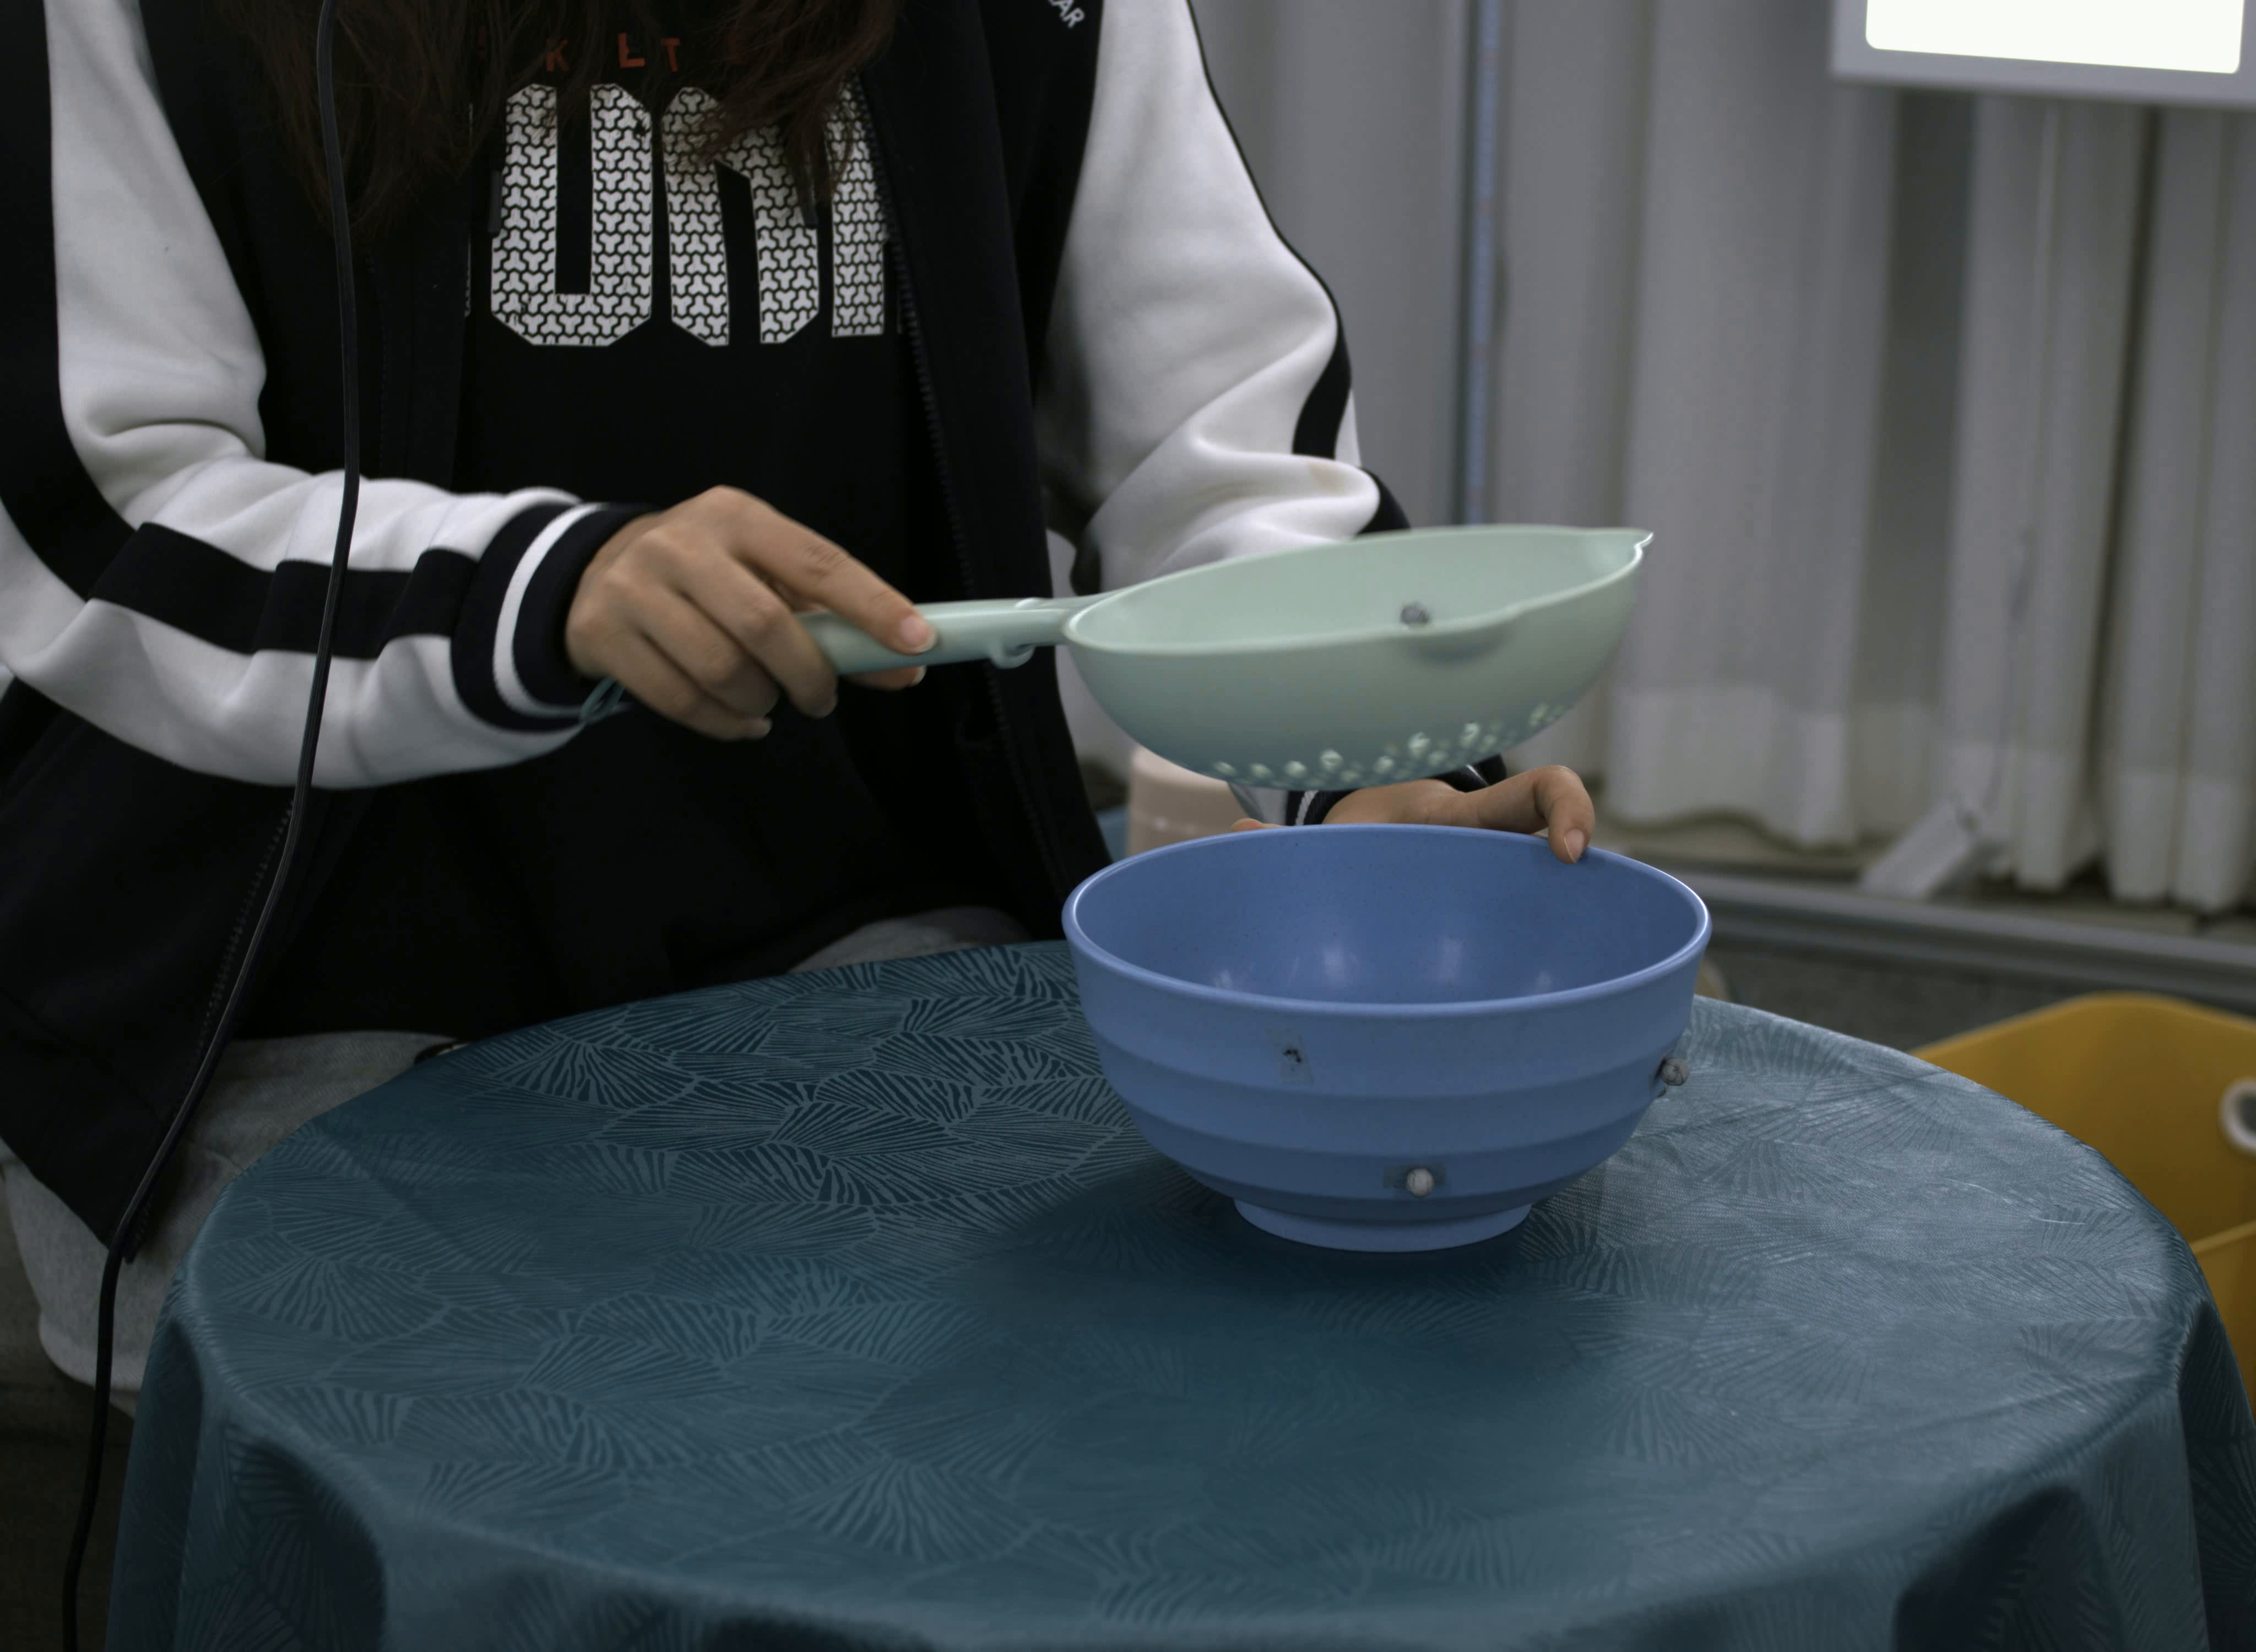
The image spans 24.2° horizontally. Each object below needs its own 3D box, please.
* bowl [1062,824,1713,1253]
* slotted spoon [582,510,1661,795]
[{"bbox_3d":[0.078,0.070,1.599,0.196,0.096,0.195,0,16,0],"label":"bowl"},{"bbox_3d":[-0.015,-0.056,1.583,0.355,0.076,0.169,7,19,26],"label":"slotted spoon"}]
